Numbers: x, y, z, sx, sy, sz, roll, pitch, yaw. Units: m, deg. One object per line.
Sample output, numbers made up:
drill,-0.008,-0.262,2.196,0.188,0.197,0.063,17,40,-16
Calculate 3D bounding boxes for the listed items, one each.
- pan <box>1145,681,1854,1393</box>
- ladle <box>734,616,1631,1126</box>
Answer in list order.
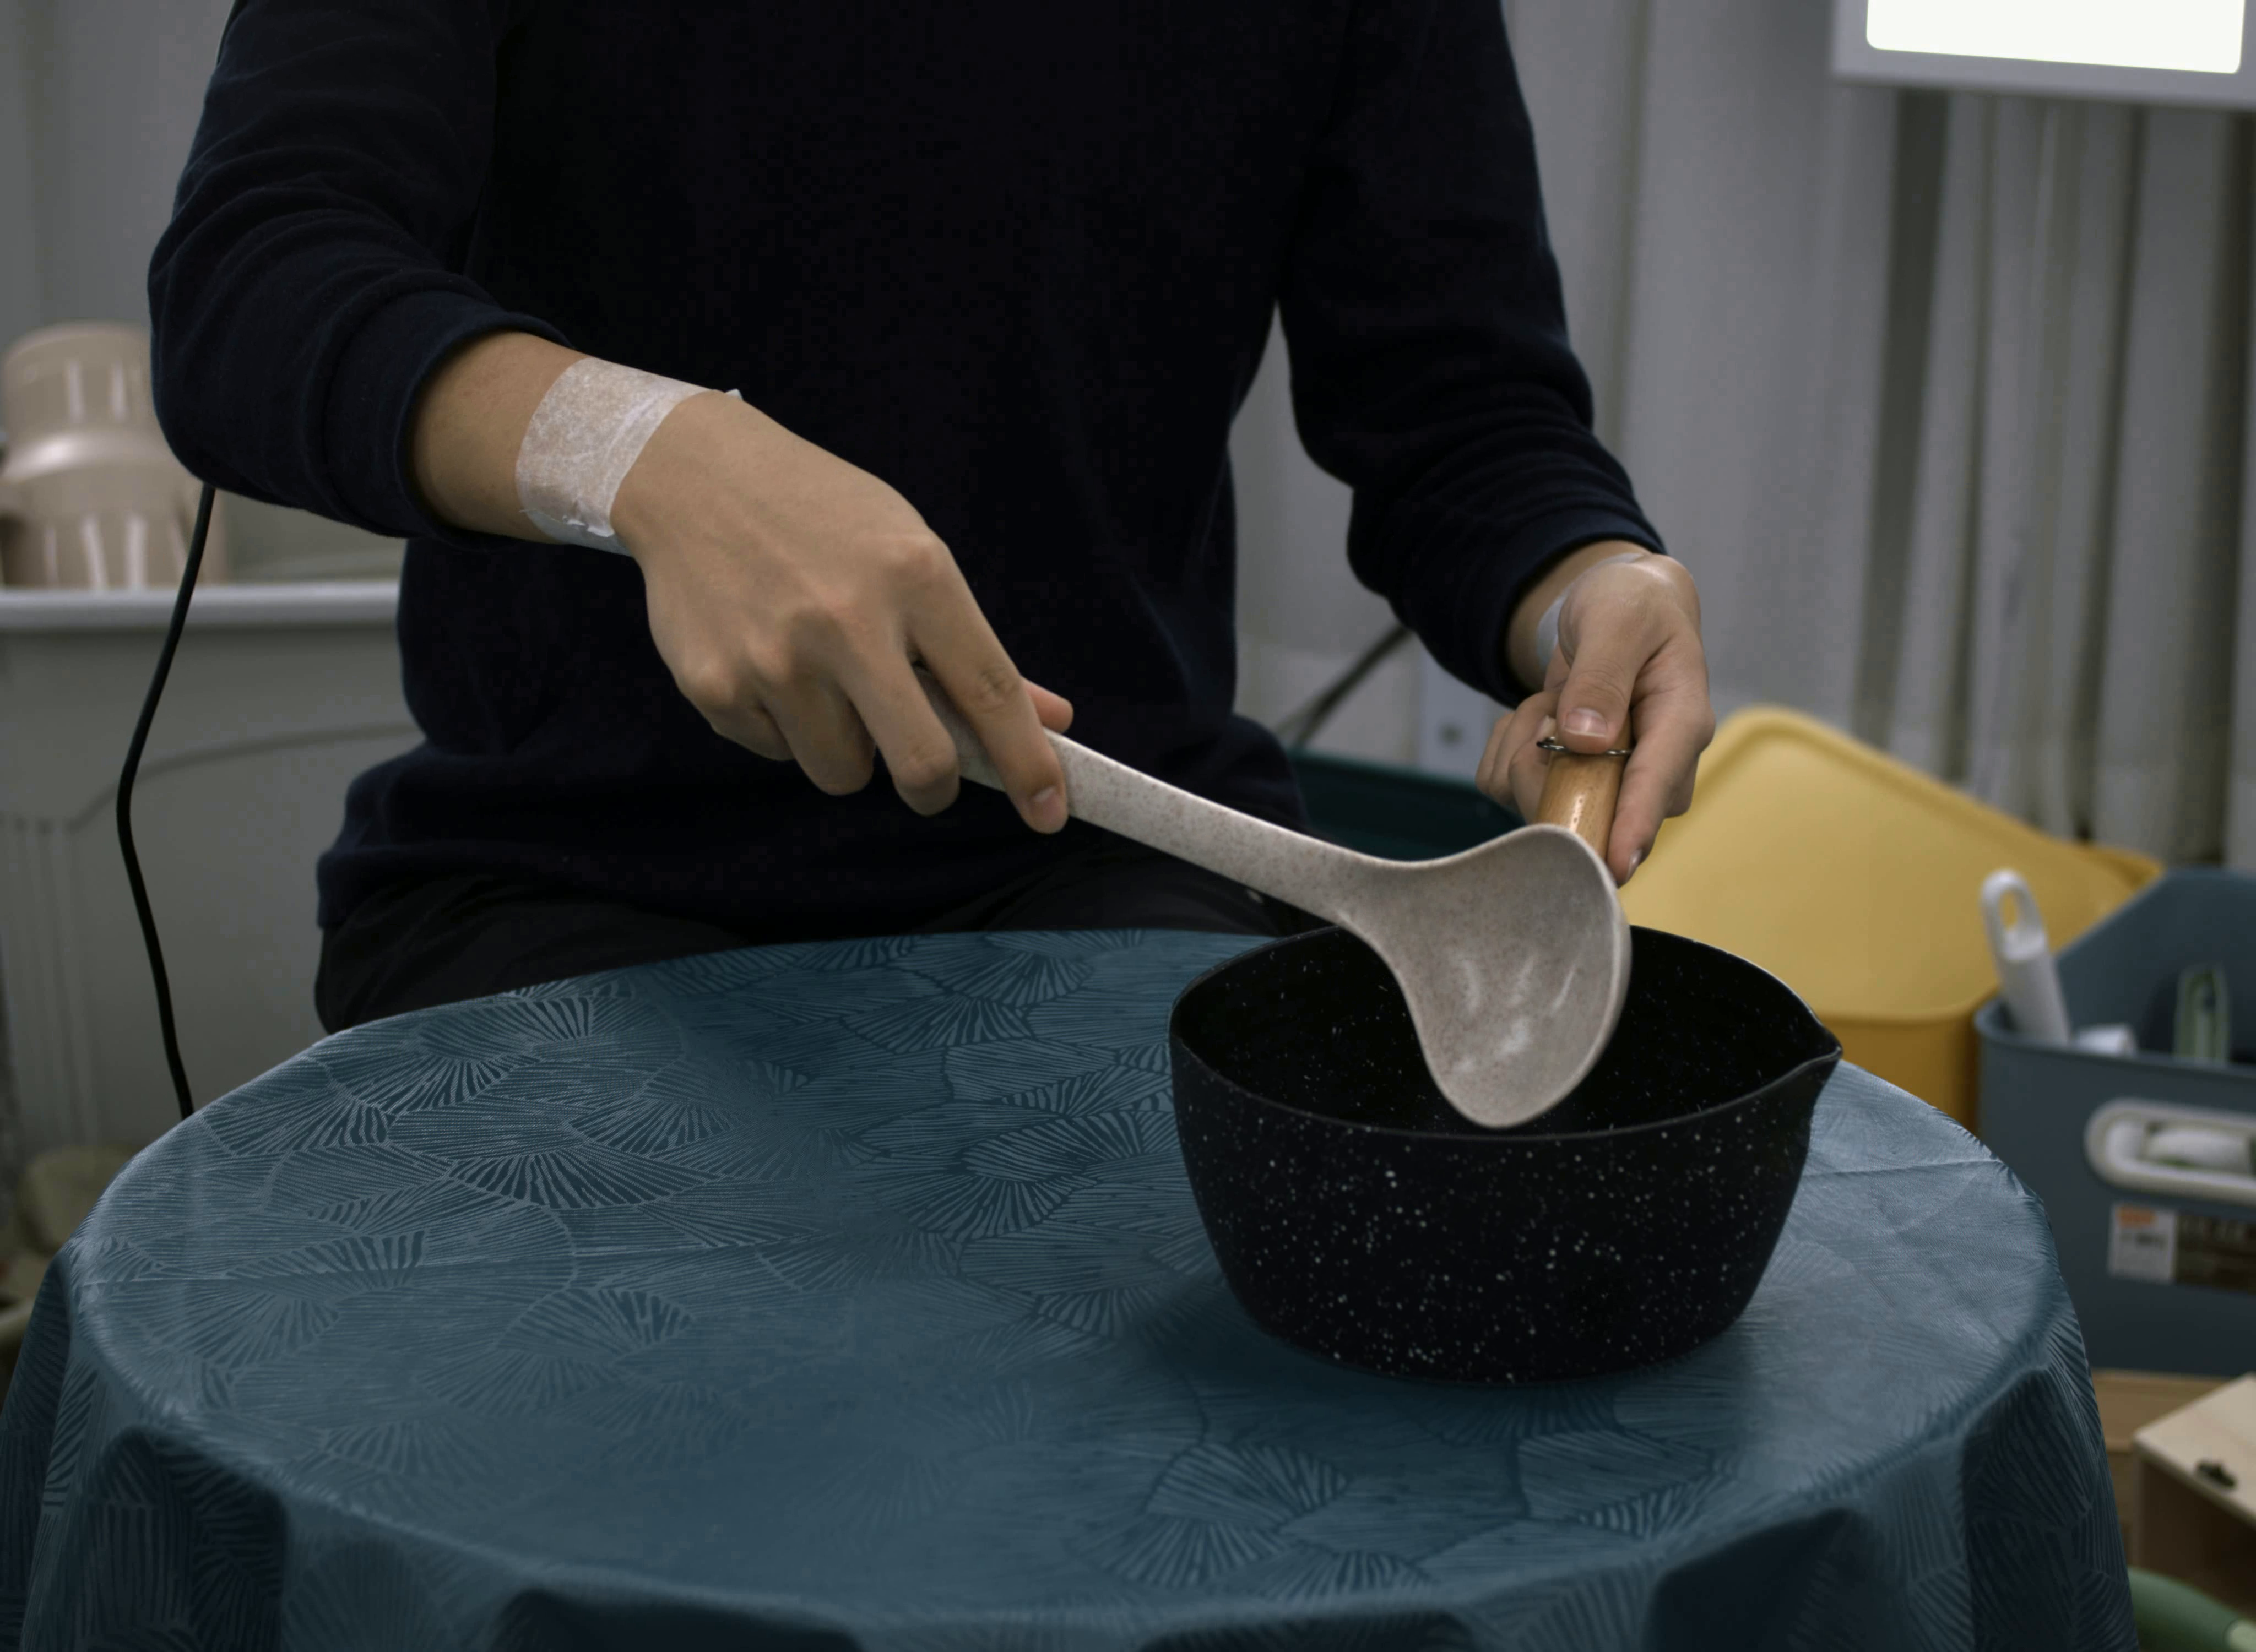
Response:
pan,0.119,0.058,1.591,0.206,0.109,0.341,2,20,10
ladle,0.011,0.004,1.490,0.274,0.090,0.069,21,23,-1
